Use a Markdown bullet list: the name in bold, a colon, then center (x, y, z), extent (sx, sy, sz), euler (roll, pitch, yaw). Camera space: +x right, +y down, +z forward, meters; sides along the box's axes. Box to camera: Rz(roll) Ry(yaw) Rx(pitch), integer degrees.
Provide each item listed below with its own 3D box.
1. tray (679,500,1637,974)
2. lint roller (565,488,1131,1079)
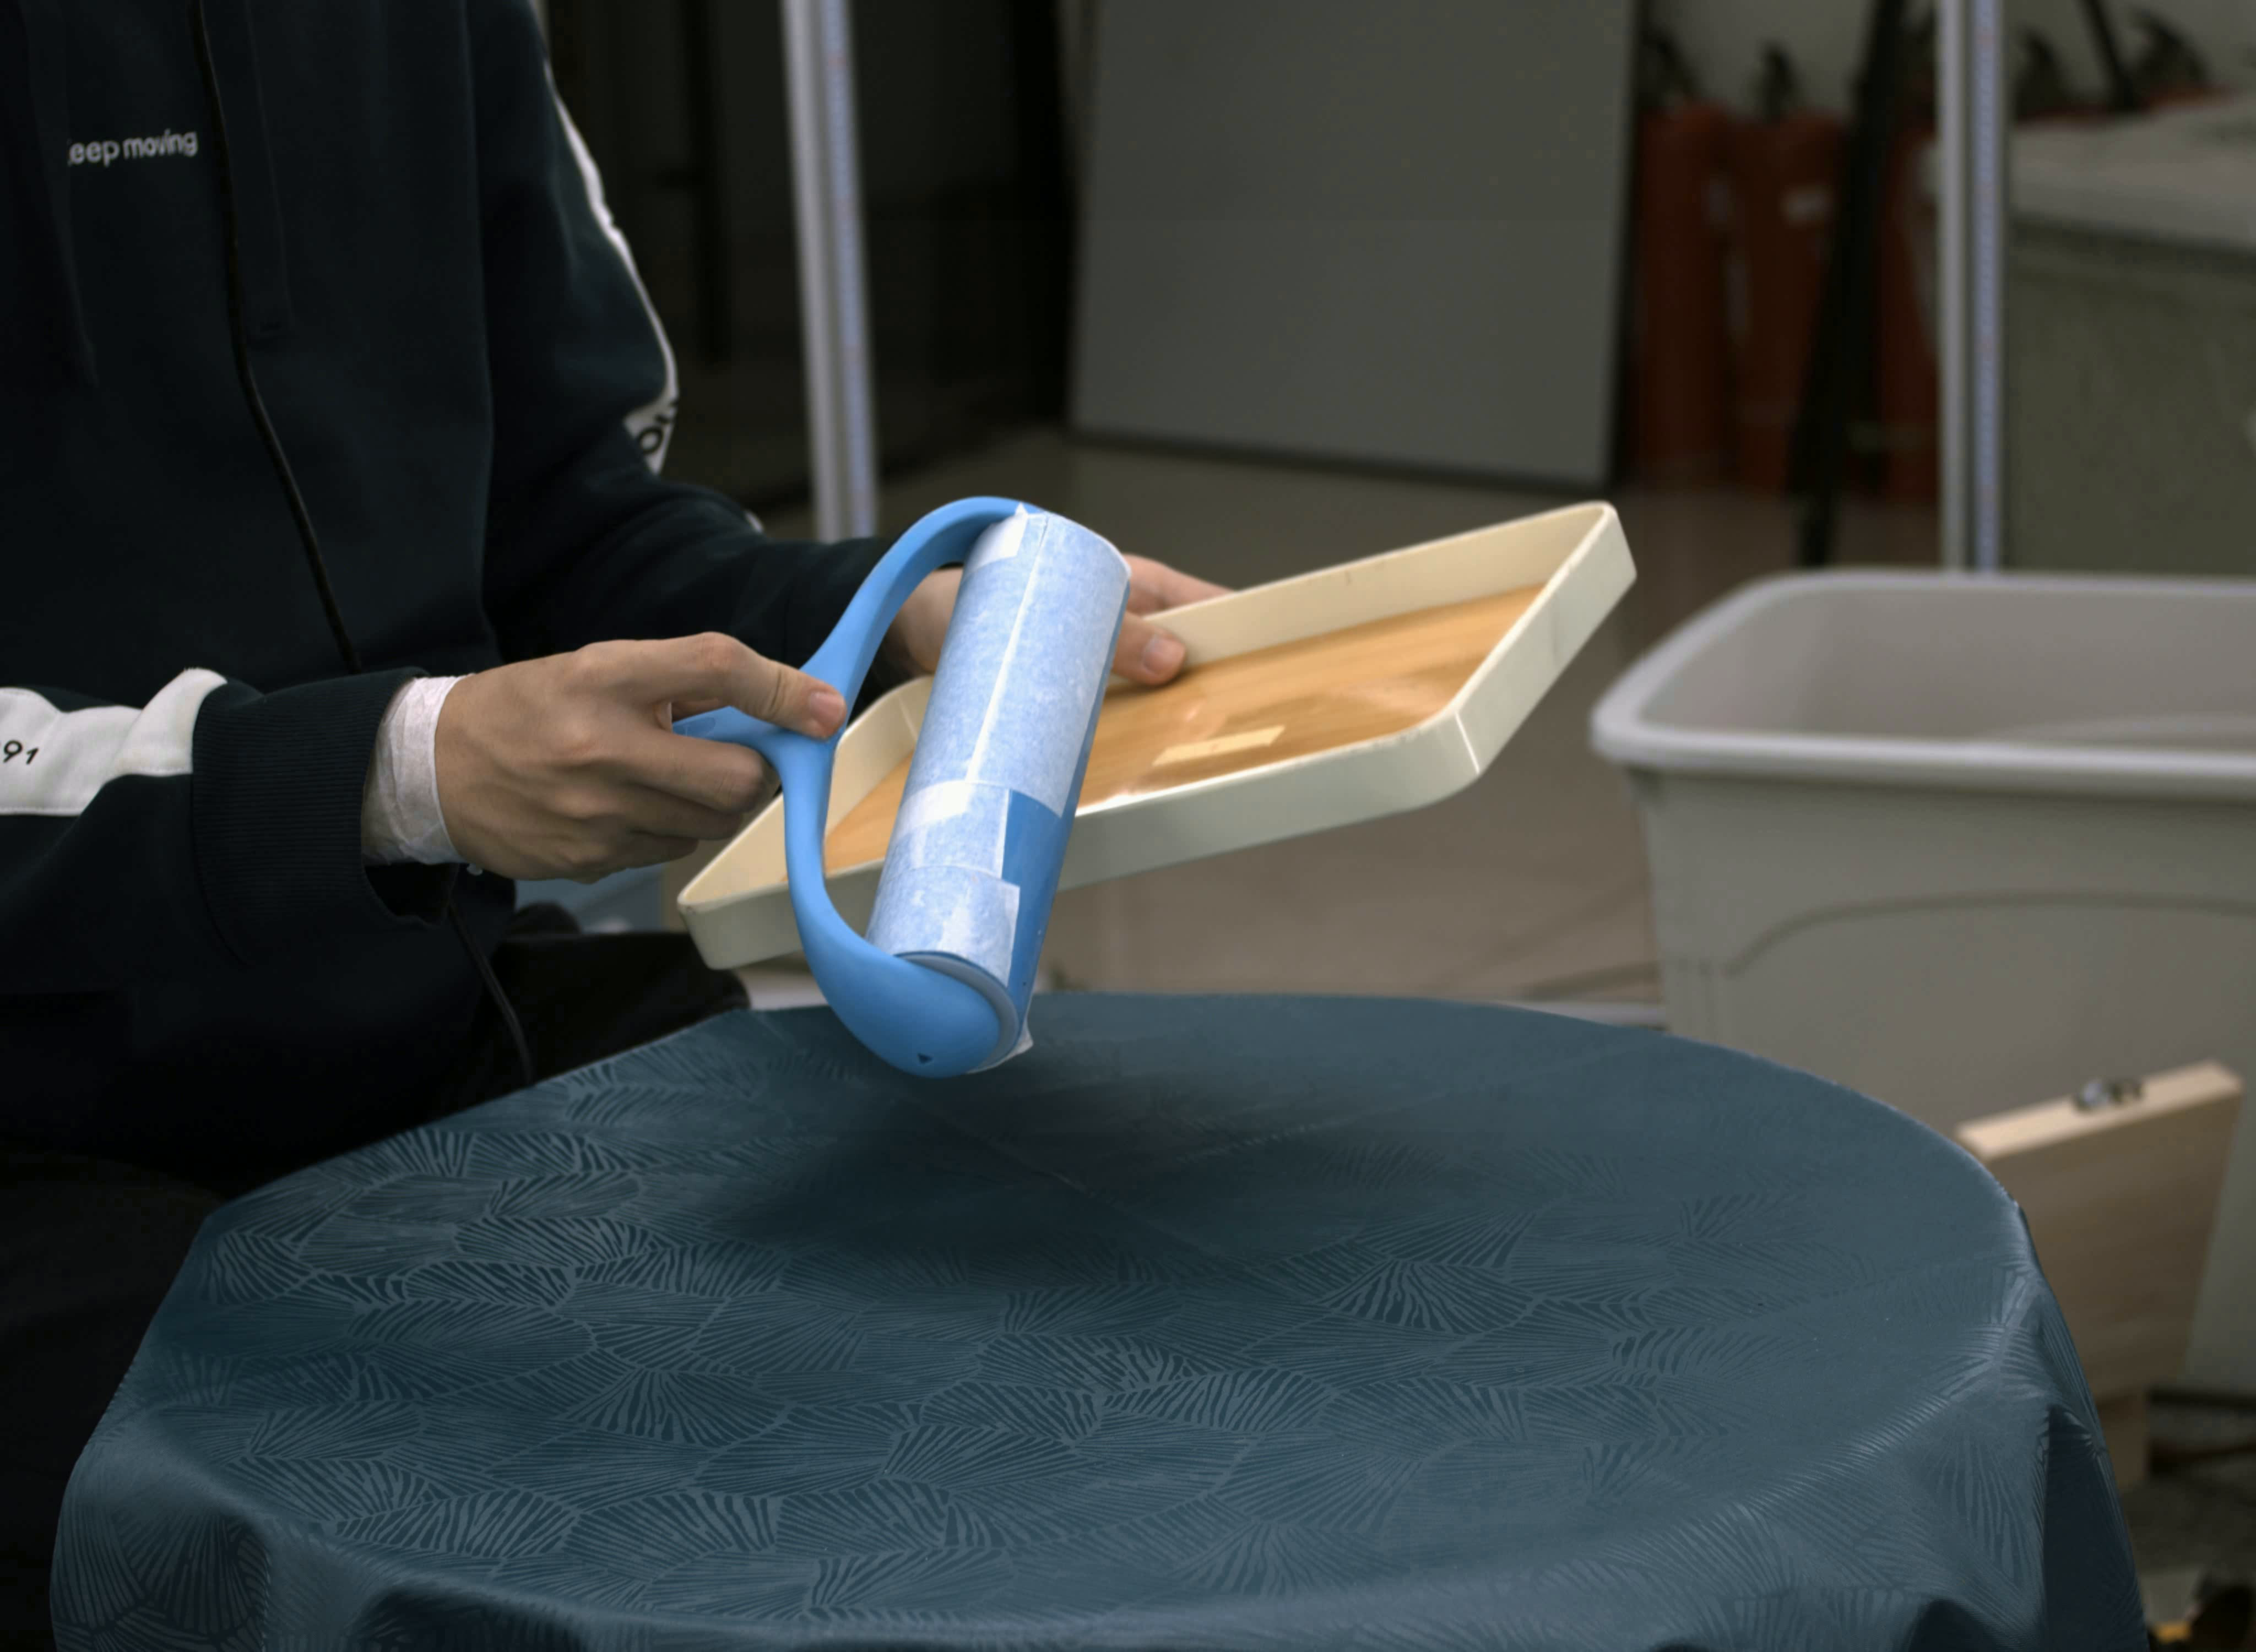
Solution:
- **tray**: center (0.010, -0.028, 1.785), extent (0.302, 0.027, 0.190), euler (-14, 19, 32)
- **lint roller**: center (-0.096, -0.012, 1.676), extent (0.179, 0.068, 0.230), euler (-3, 47, 12)
